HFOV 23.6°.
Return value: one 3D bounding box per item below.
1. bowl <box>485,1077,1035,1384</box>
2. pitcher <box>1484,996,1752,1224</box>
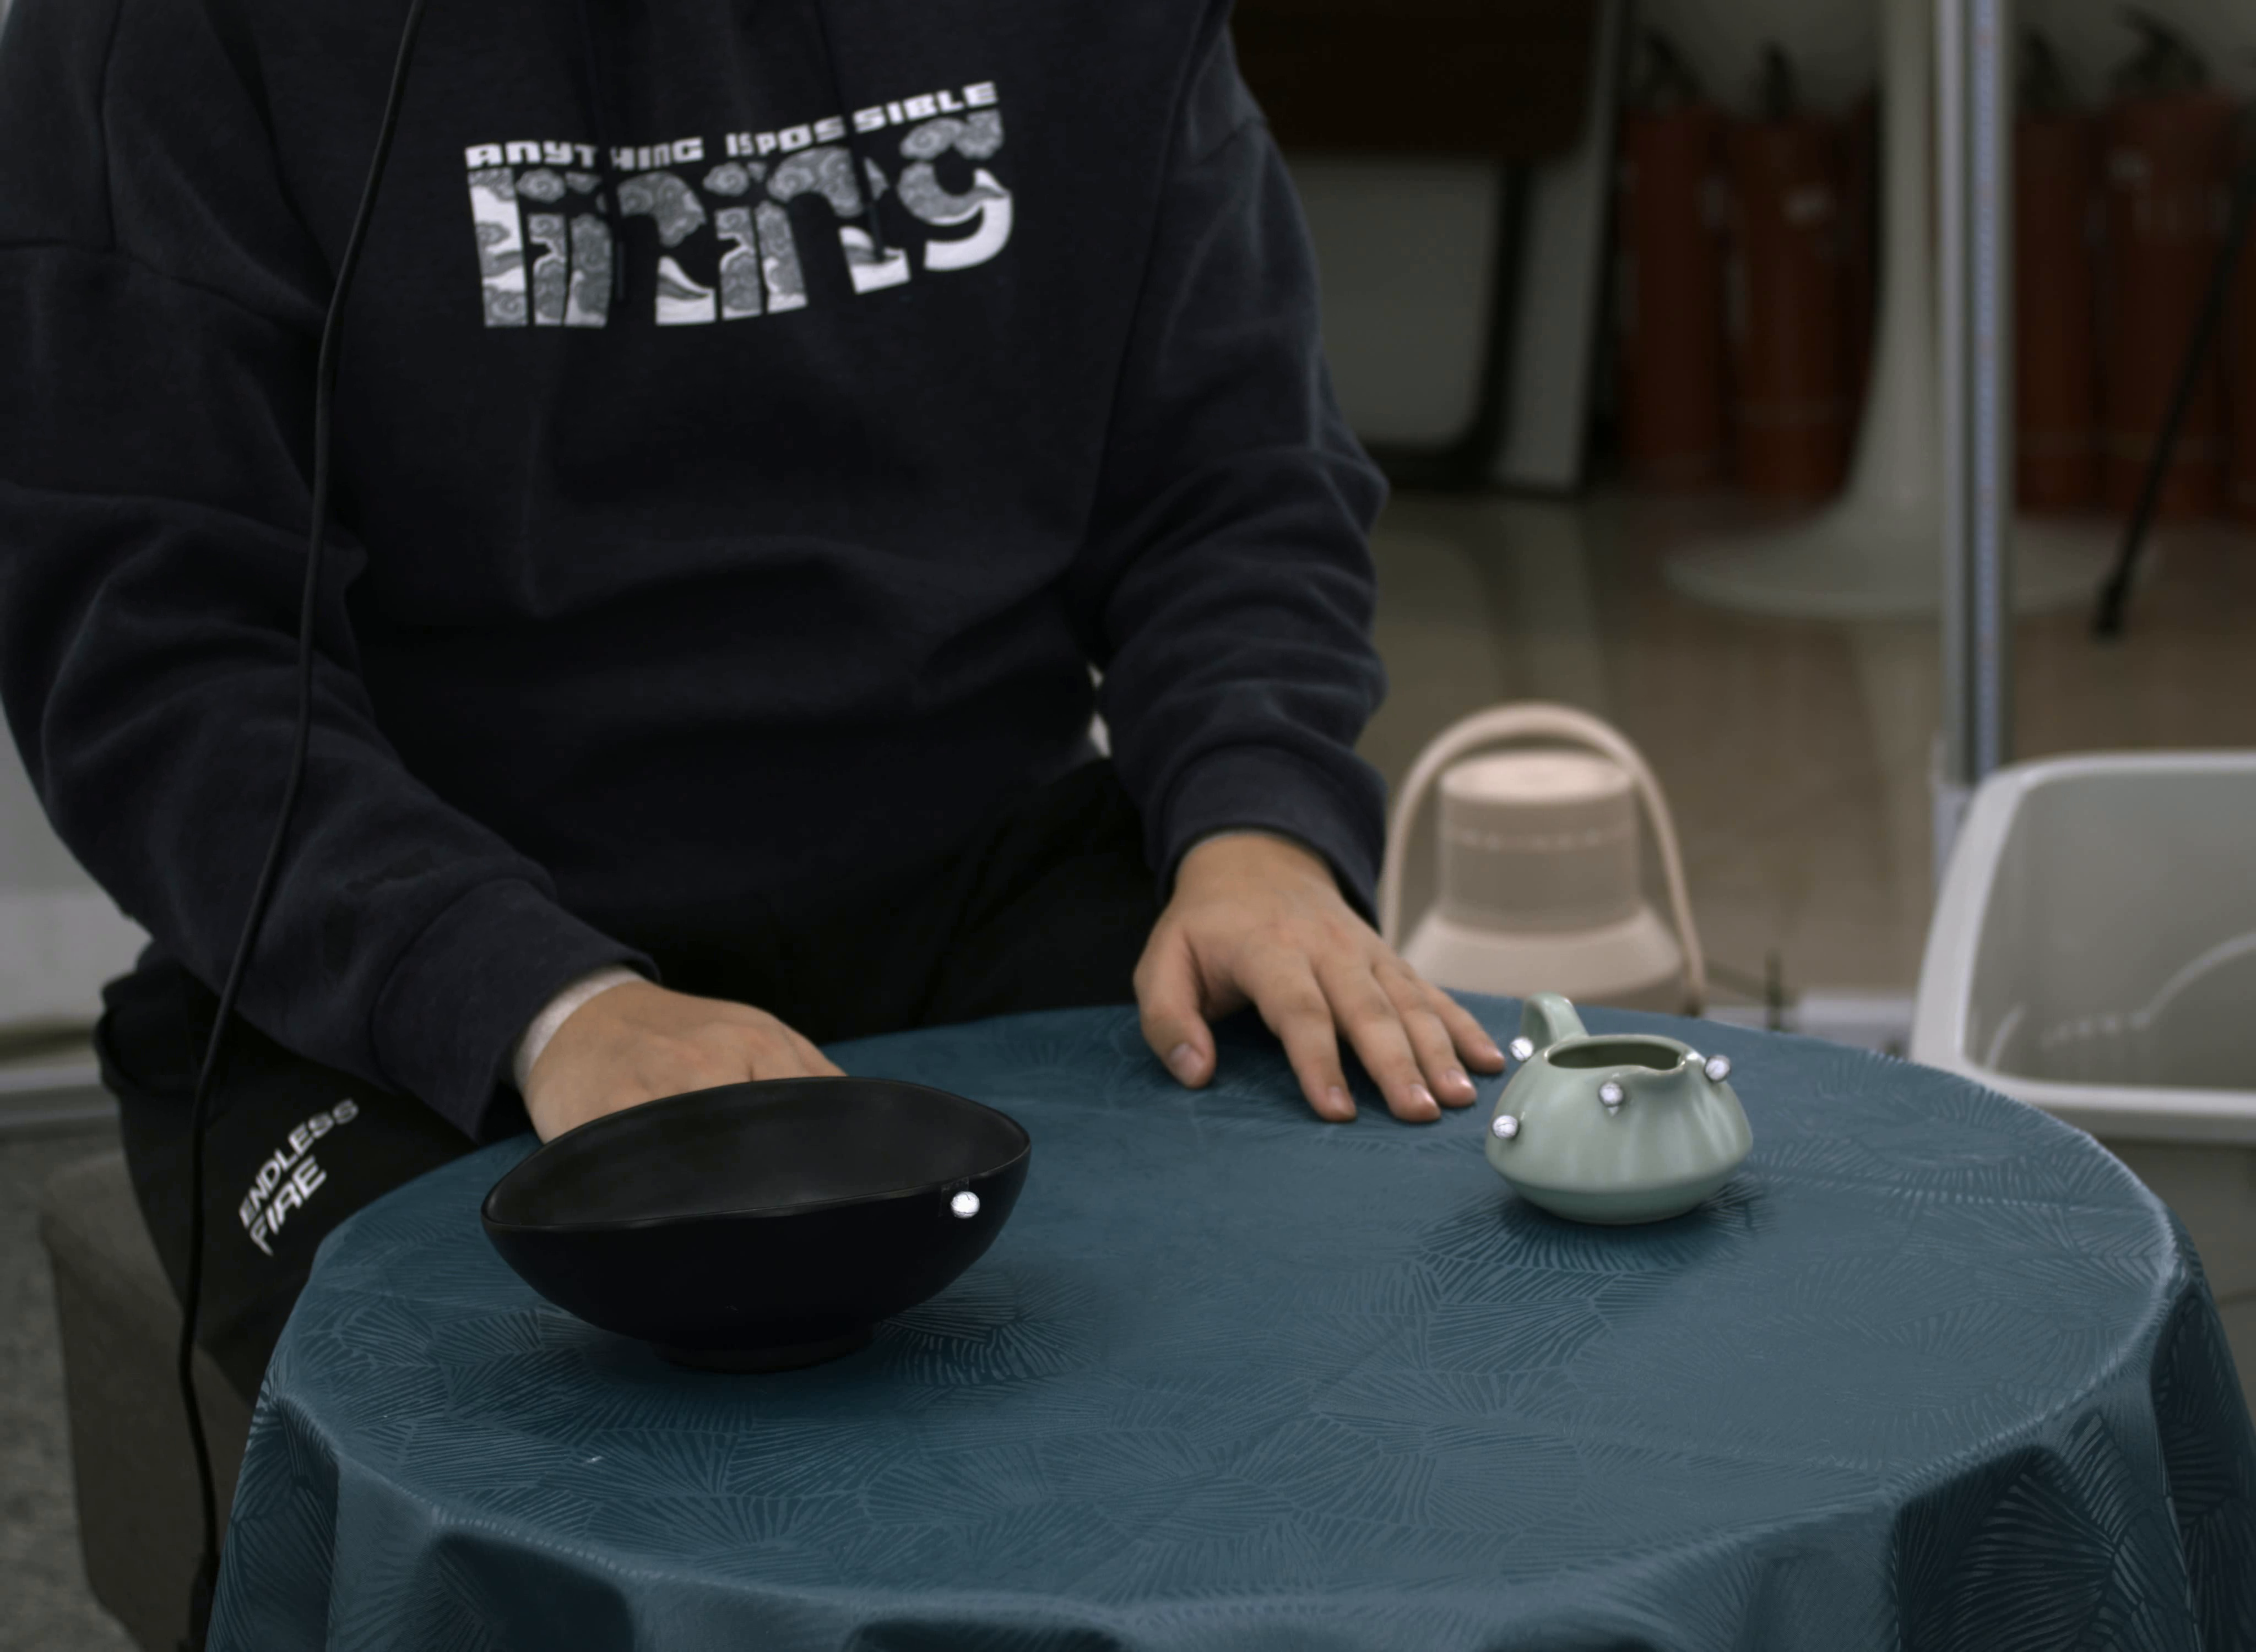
[{"bbox_3d":[-0.109,0.128,1.645,0.167,0.067,0.138,-6,13,-6],"label":"bowl"},{"bbox_3d":[0.152,0.092,1.733,0.084,0.061,0.109,-8,12,-21],"label":"pitcher"}]
